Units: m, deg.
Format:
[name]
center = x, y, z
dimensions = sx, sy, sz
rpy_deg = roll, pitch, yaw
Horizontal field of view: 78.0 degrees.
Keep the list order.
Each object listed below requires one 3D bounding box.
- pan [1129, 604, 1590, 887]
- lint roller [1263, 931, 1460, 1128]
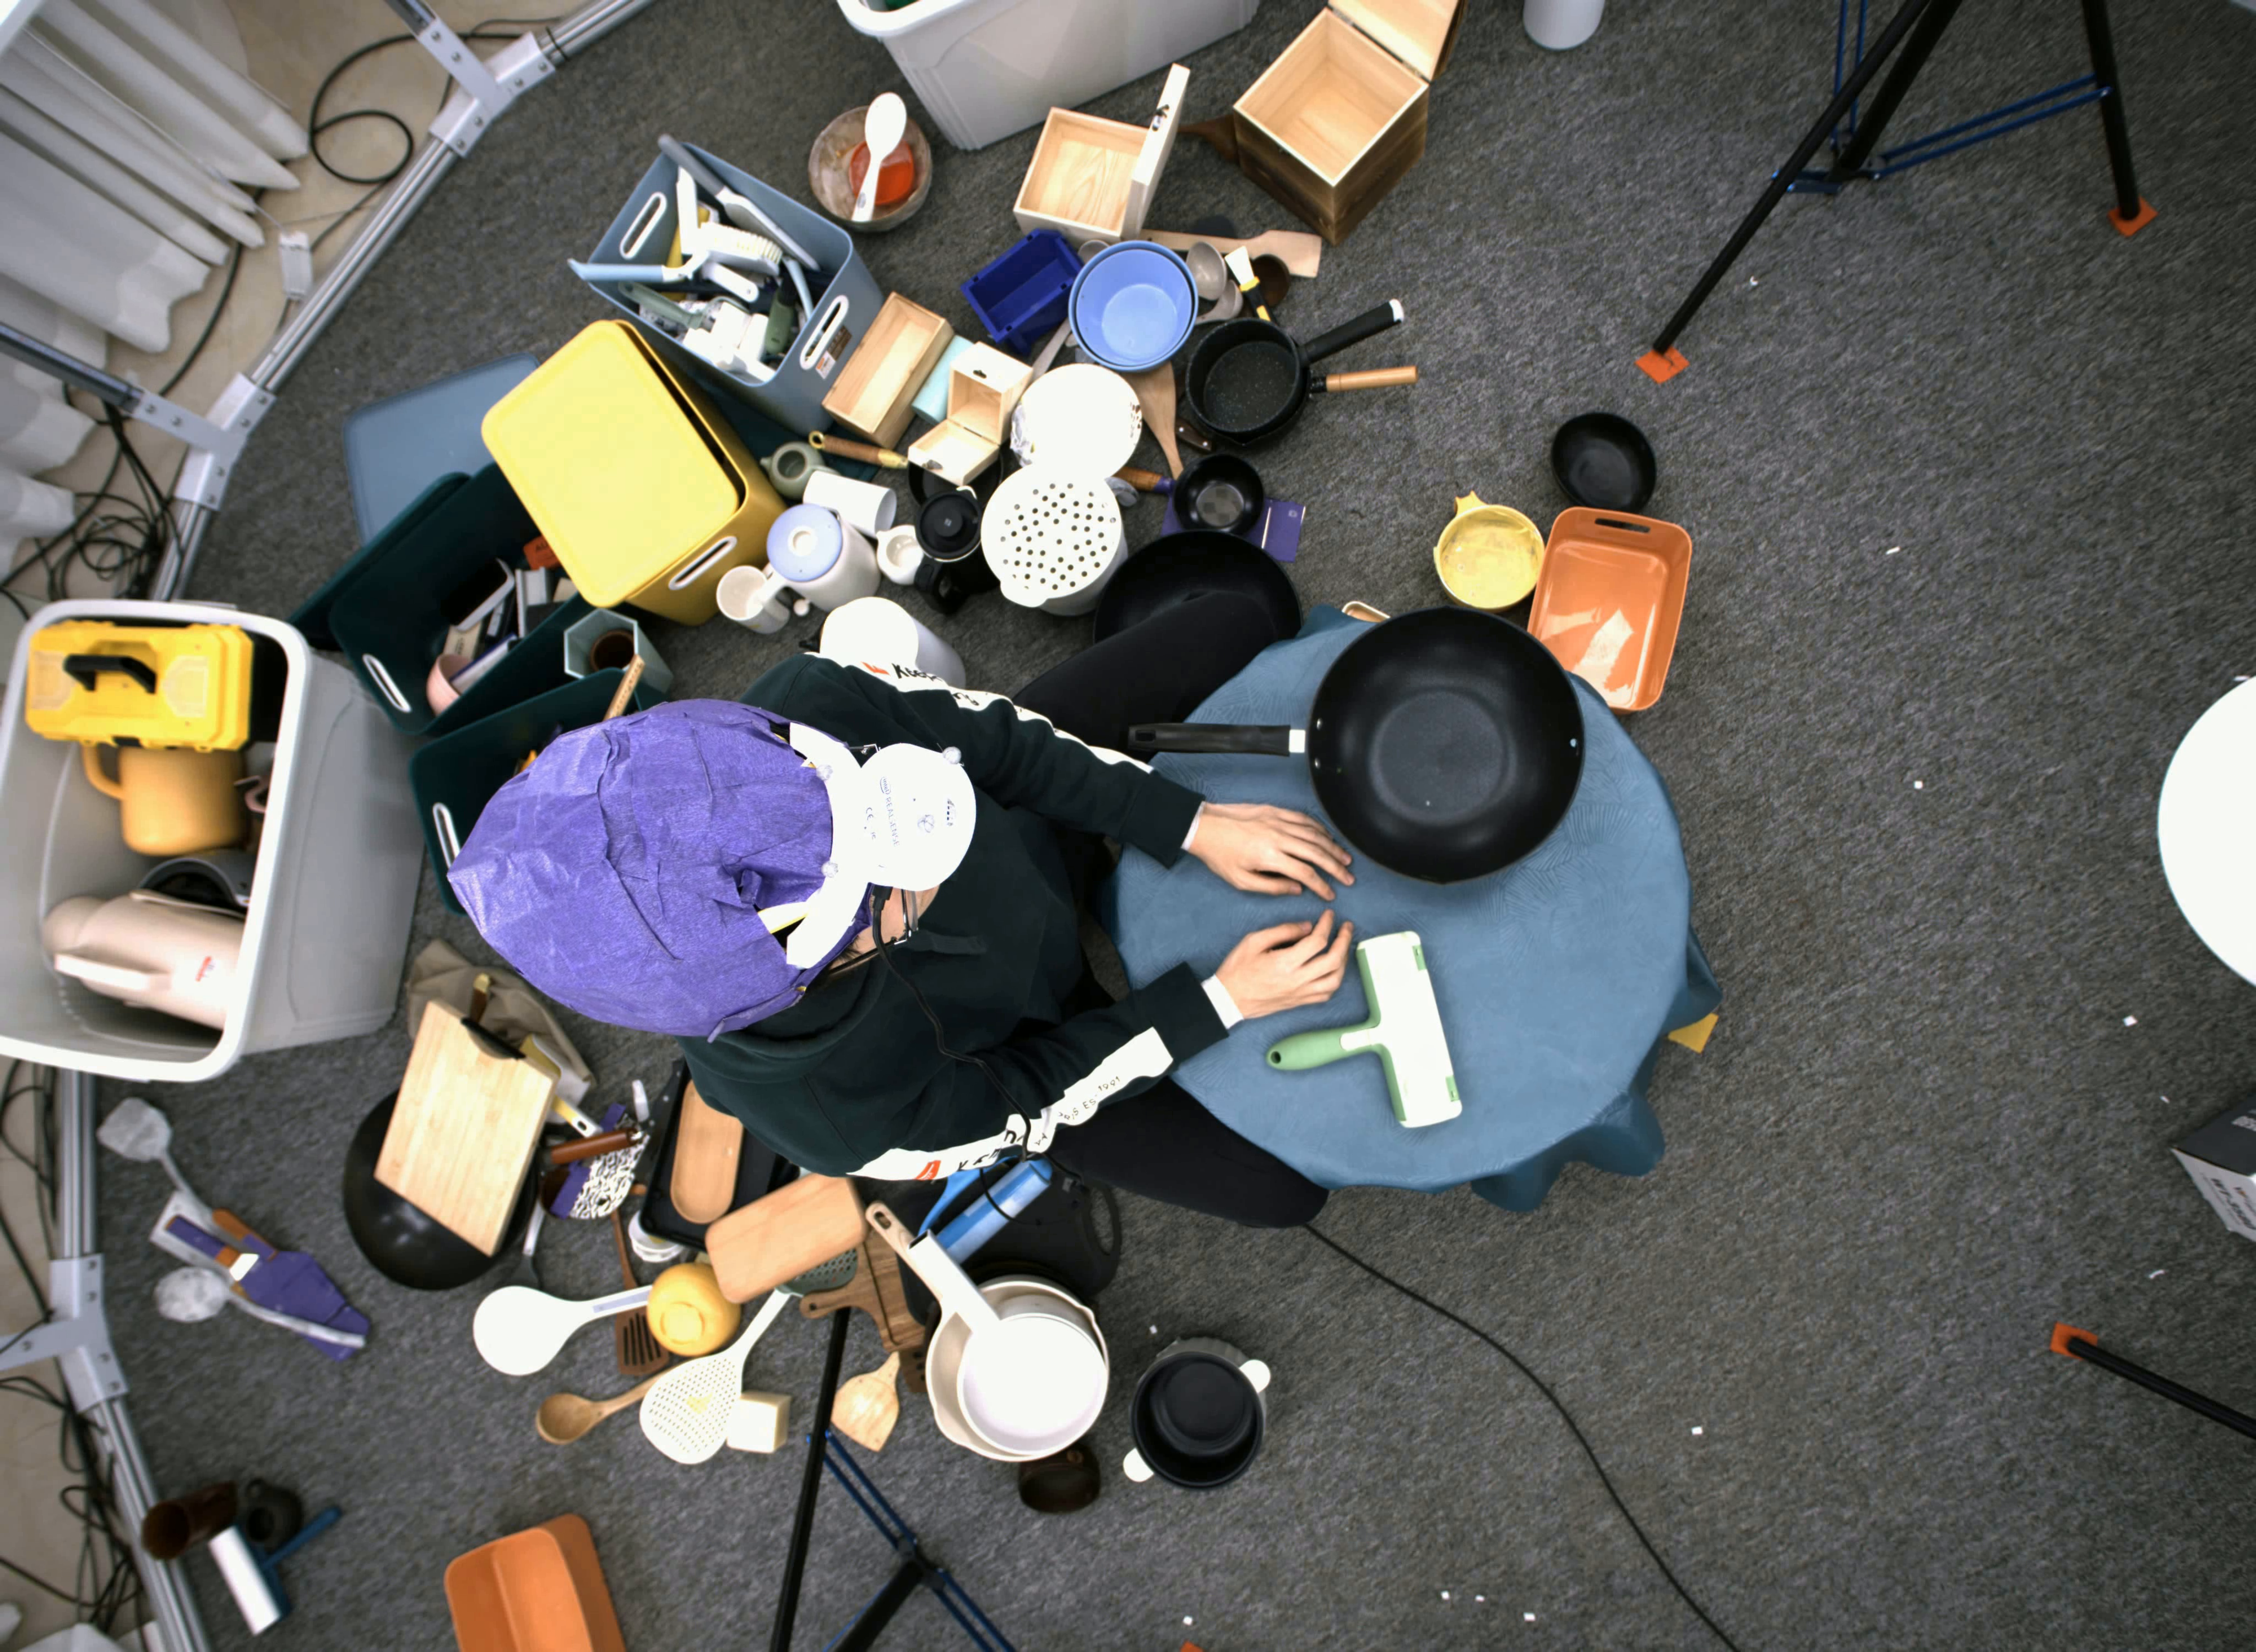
[pan]
center = 0.234, -0.082, 1.428
dimensions = 0.465, 0.087, 0.287
rpy_deg = 1, 86, 12
[lint roller]
center = 0.229, 0.219, 1.417
dimensions = 0.184, 0.082, 0.197
rpy_deg = -13, 85, 4
